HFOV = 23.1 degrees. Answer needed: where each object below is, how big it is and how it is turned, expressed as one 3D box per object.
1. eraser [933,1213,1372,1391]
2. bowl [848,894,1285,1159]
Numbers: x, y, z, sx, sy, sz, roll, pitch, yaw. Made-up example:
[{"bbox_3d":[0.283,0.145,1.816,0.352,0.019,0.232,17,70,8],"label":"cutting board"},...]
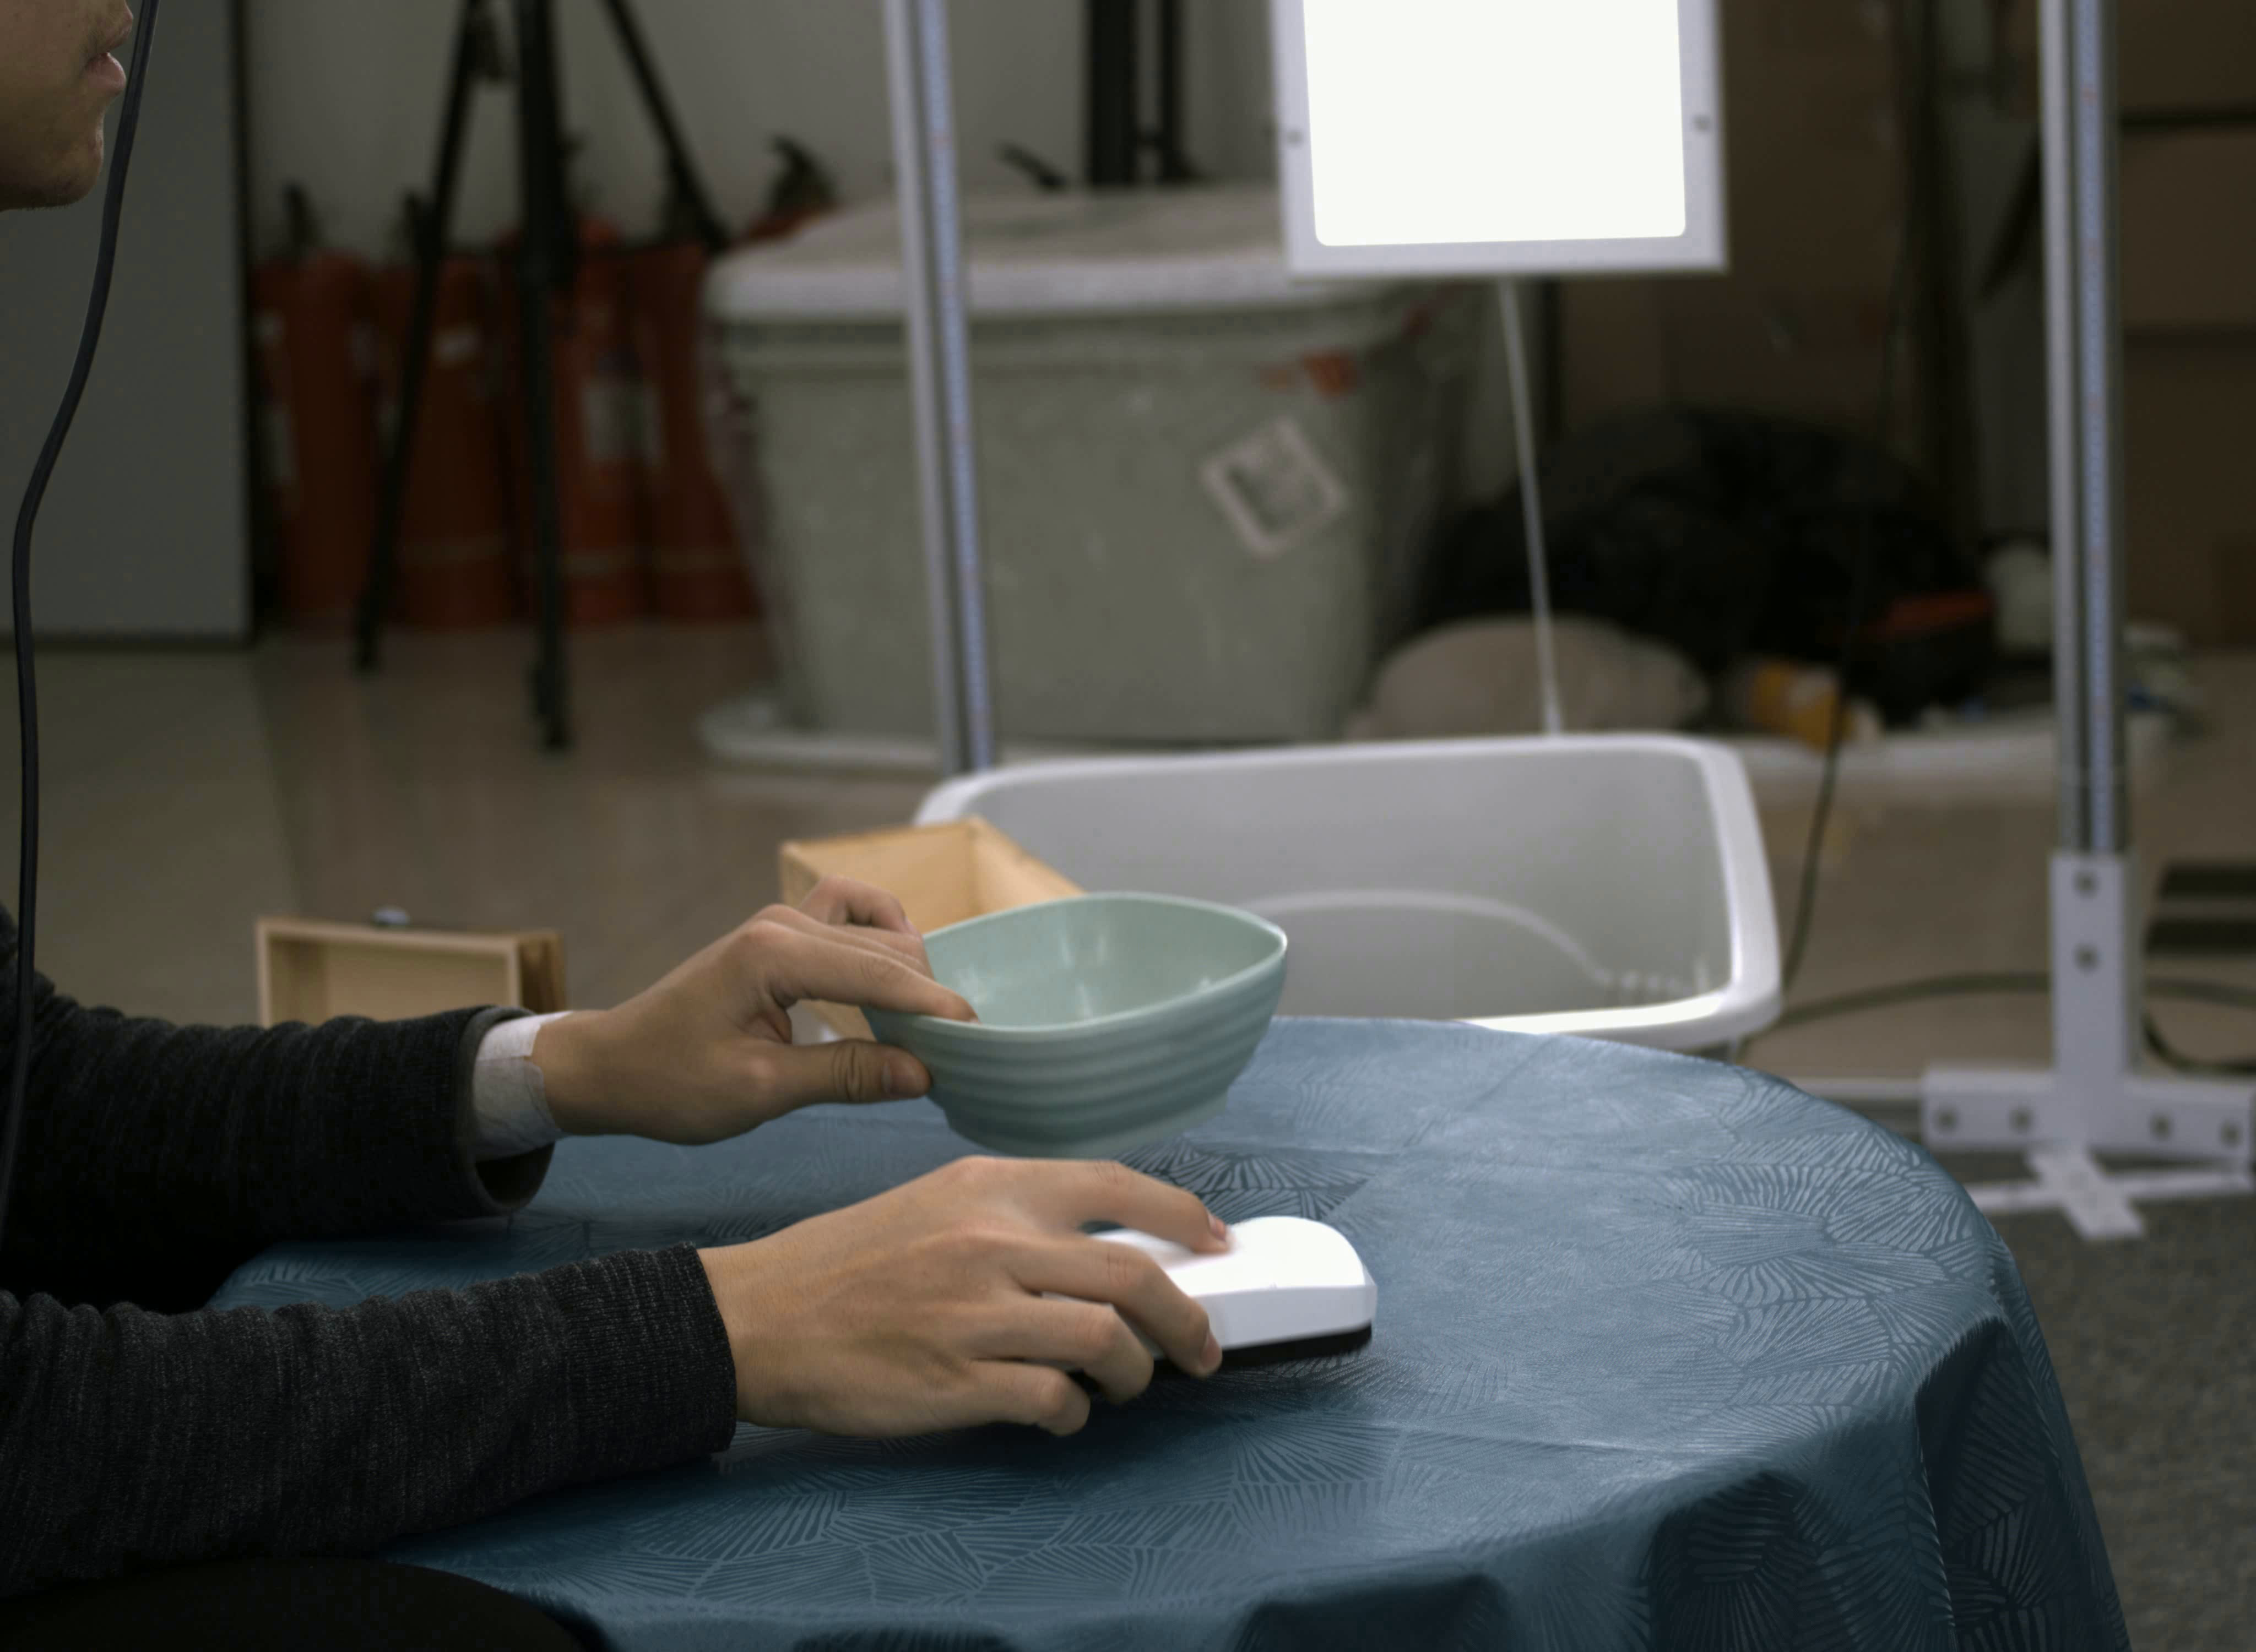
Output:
[{"bbox_3d":[0.008,0.143,1.692,0.129,0.035,0.064,-5,16,-14],"label":"eraser"},{"bbox_3d":[-0.019,0.072,1.888,0.151,0.059,0.151,-6,15,0],"label":"bowl"}]
